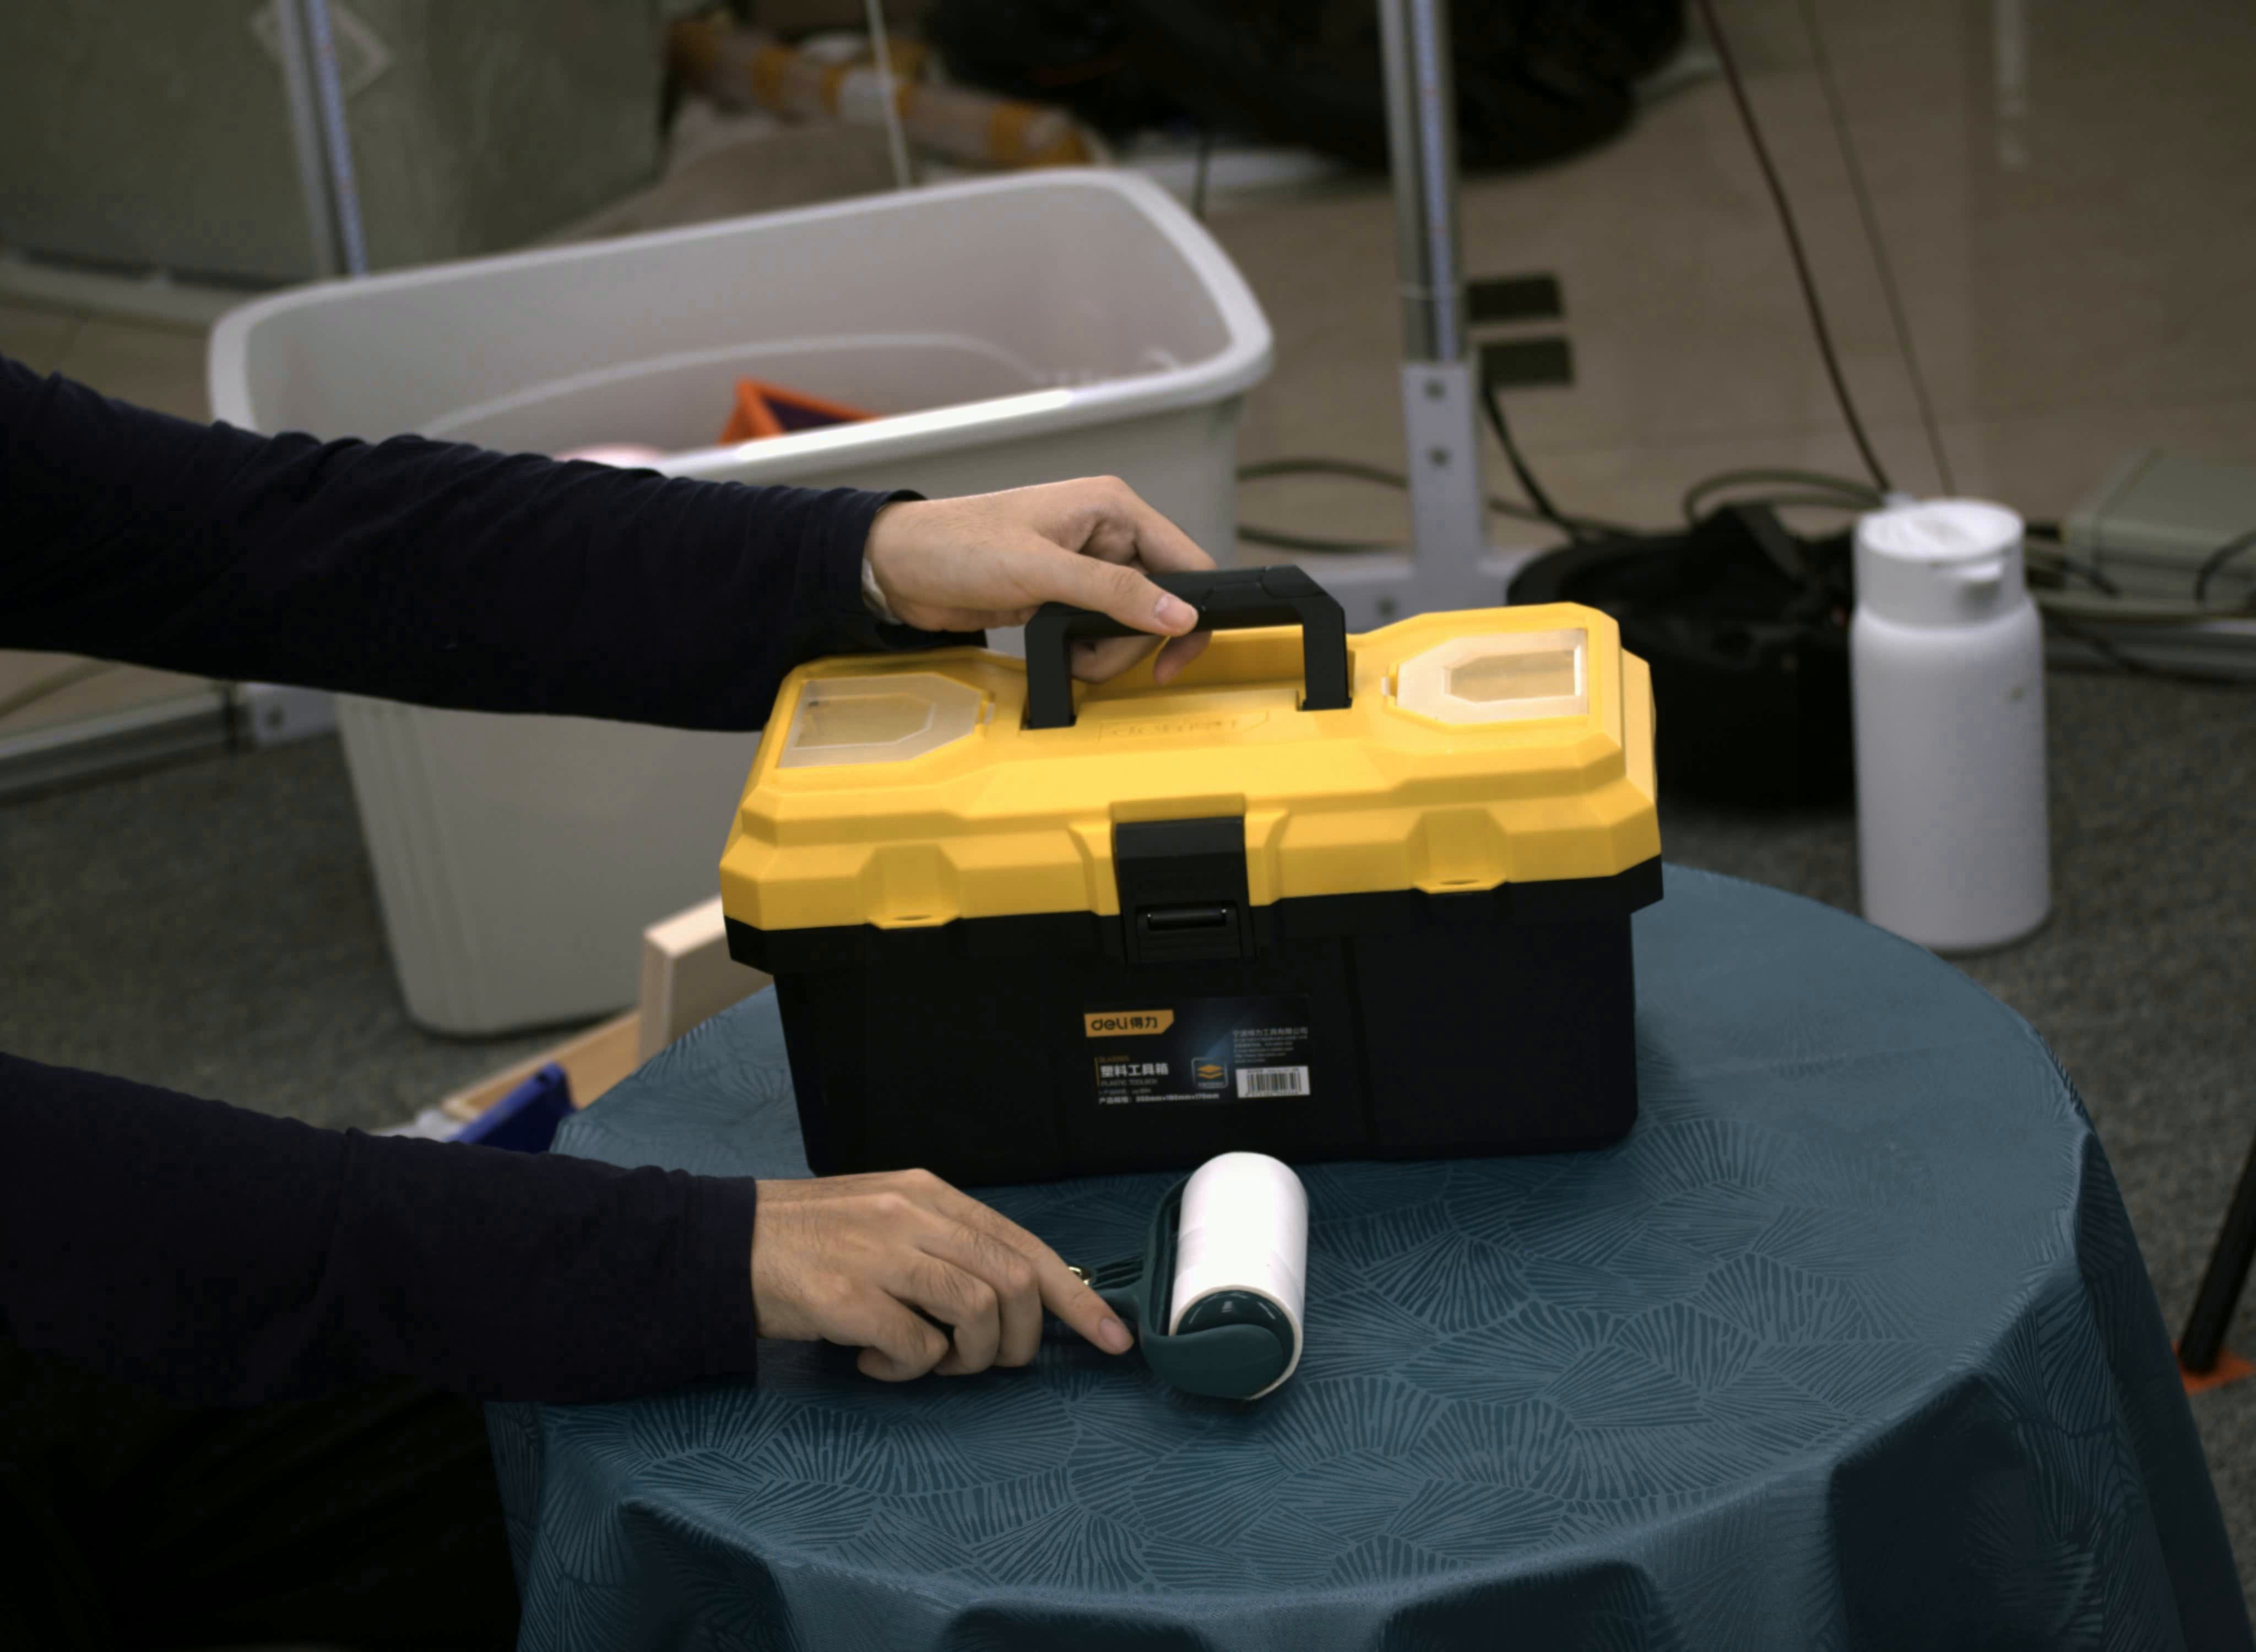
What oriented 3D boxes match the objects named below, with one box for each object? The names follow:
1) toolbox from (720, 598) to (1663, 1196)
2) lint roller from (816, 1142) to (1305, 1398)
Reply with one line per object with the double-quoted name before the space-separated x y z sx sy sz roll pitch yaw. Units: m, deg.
"toolbox" 0.030 0.029 2.171 0.351 0.175 0.178 -4 25 6
"lint roller" -0.026 0.165 2.043 0.180 0.049 0.132 -4 26 5
